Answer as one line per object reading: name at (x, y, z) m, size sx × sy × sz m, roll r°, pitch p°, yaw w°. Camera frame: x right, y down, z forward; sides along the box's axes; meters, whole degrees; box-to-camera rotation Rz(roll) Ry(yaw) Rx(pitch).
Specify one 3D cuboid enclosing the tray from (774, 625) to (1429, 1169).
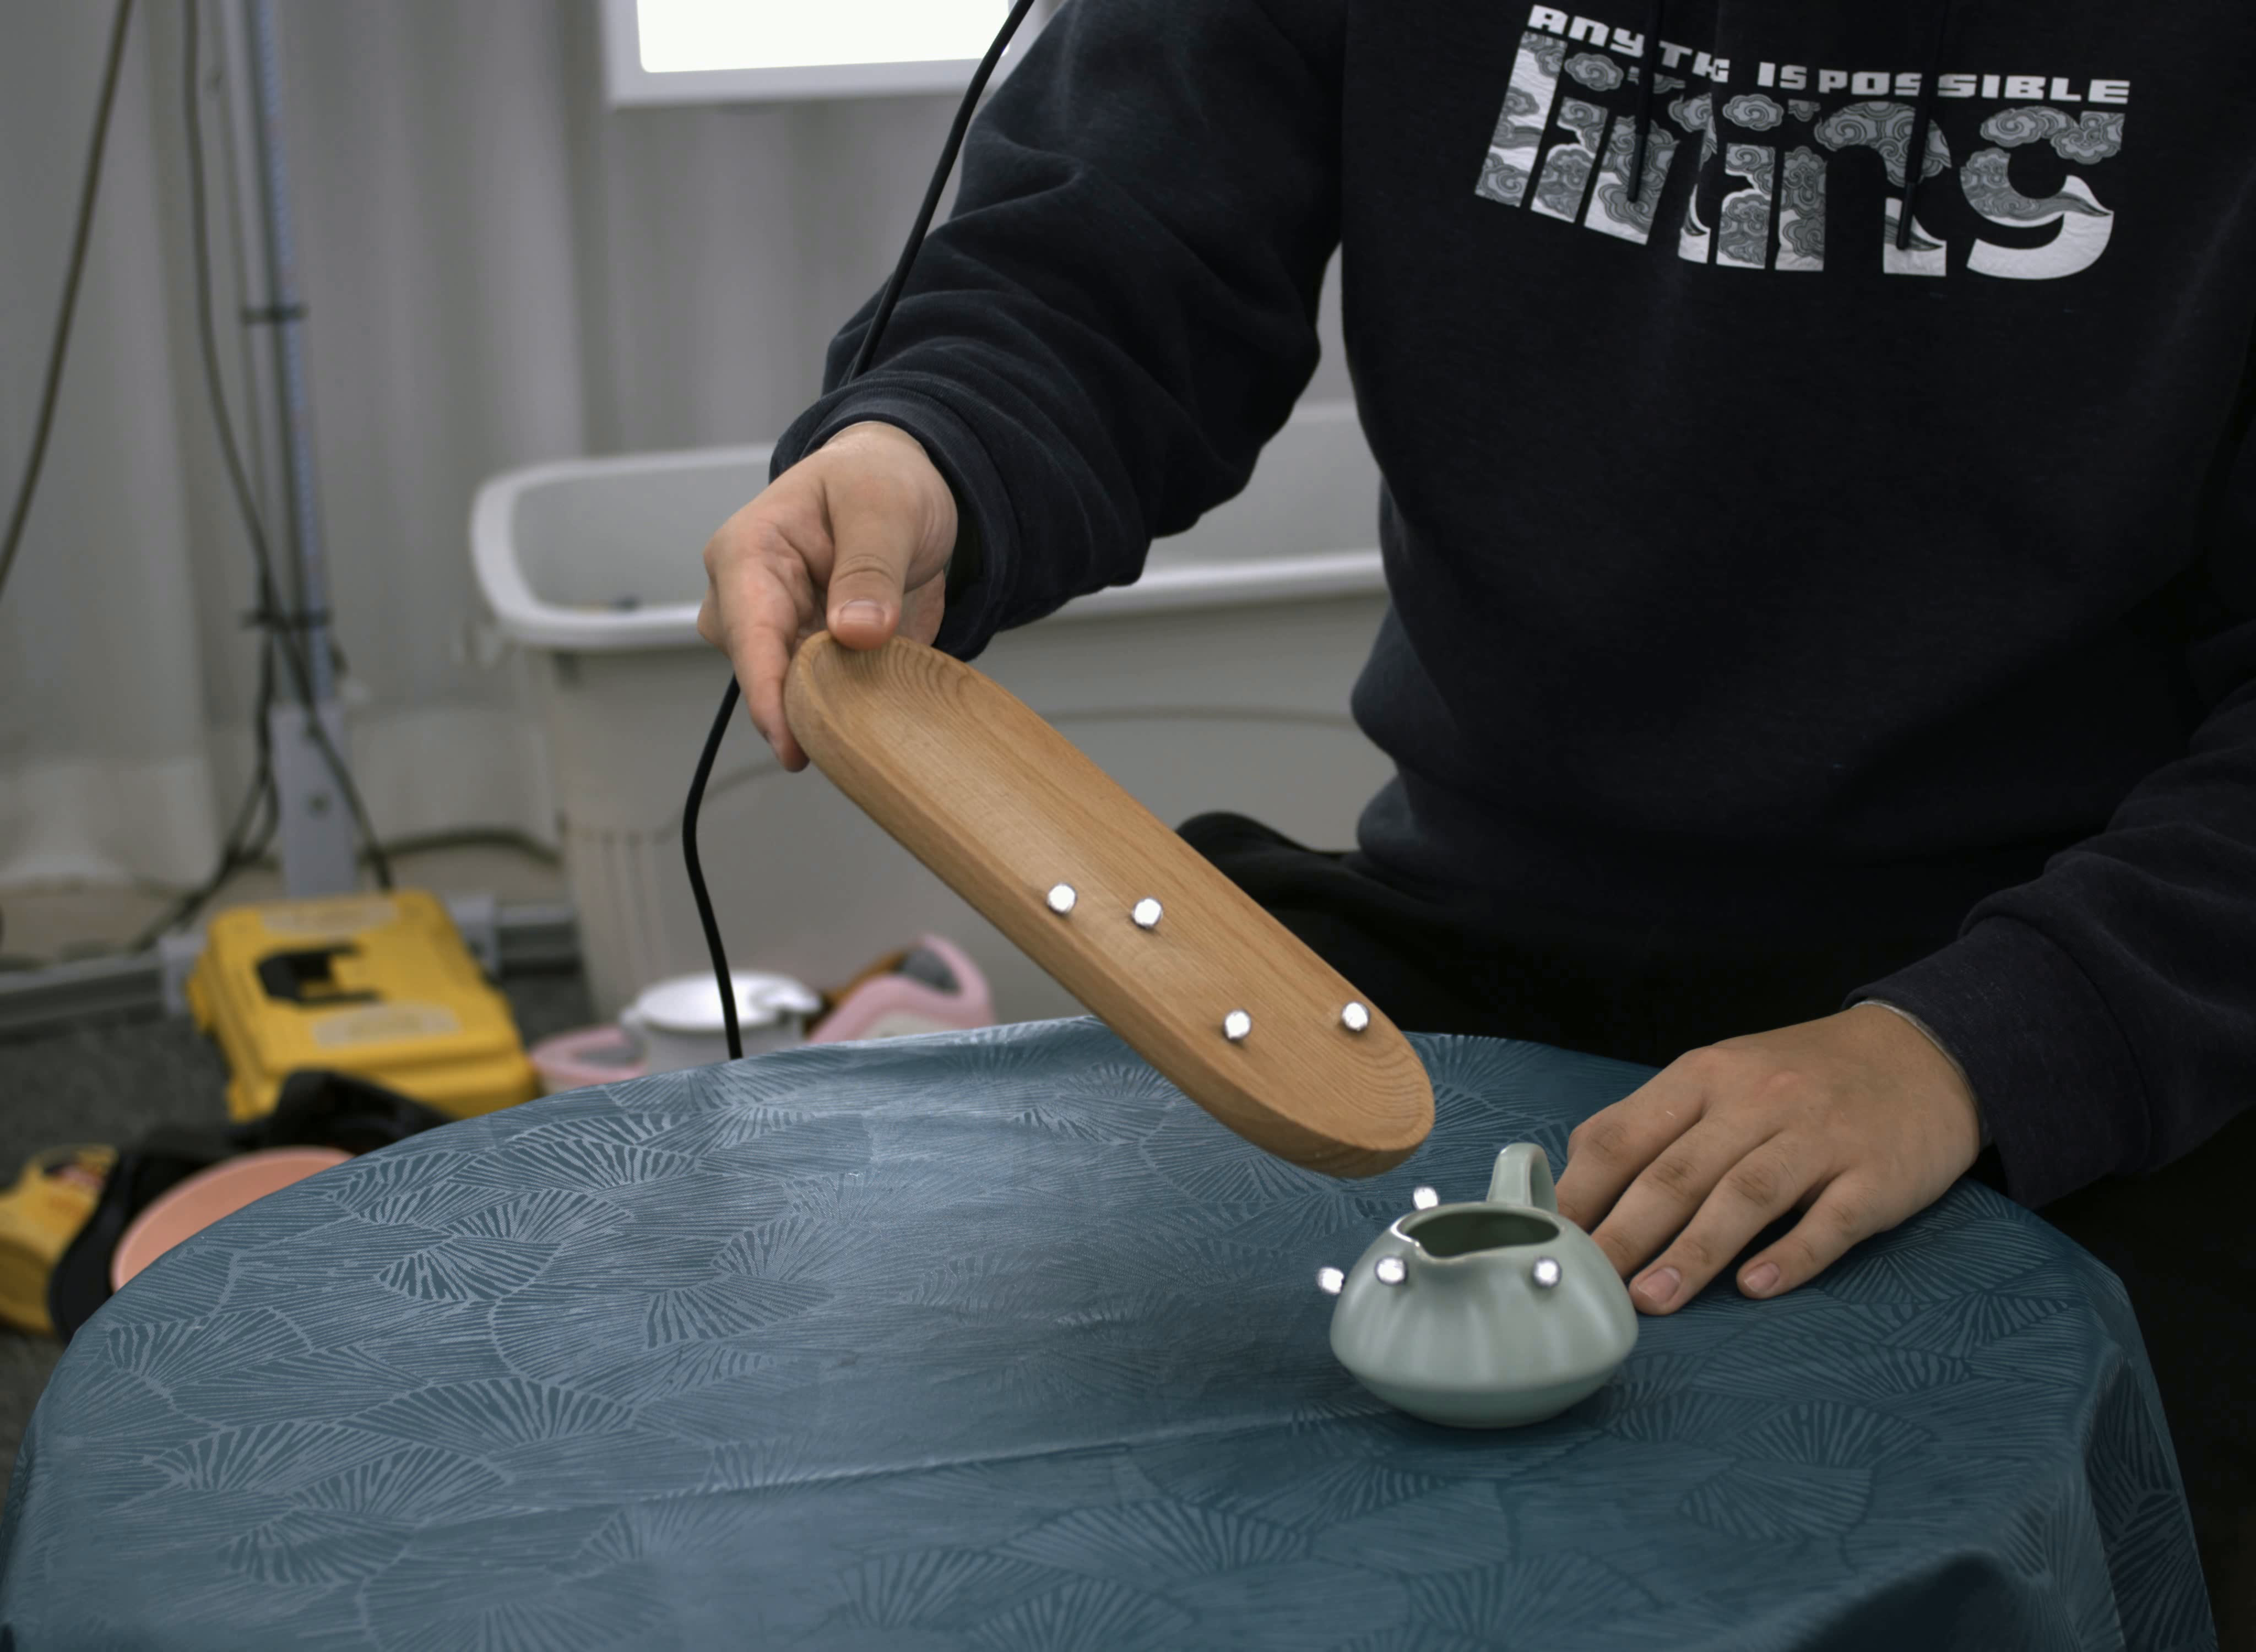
tray at (-0.009, 0.019, 1.558) m, size 0.232 × 0.020 × 0.101 m, roll 39°, pitch 22°, yaw 17°

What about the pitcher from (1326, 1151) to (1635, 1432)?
pitcher at (0.101, 0.131, 1.532) m, size 0.086 × 0.060 × 0.108 m, roll 3°, pitch 13°, yaw 17°
